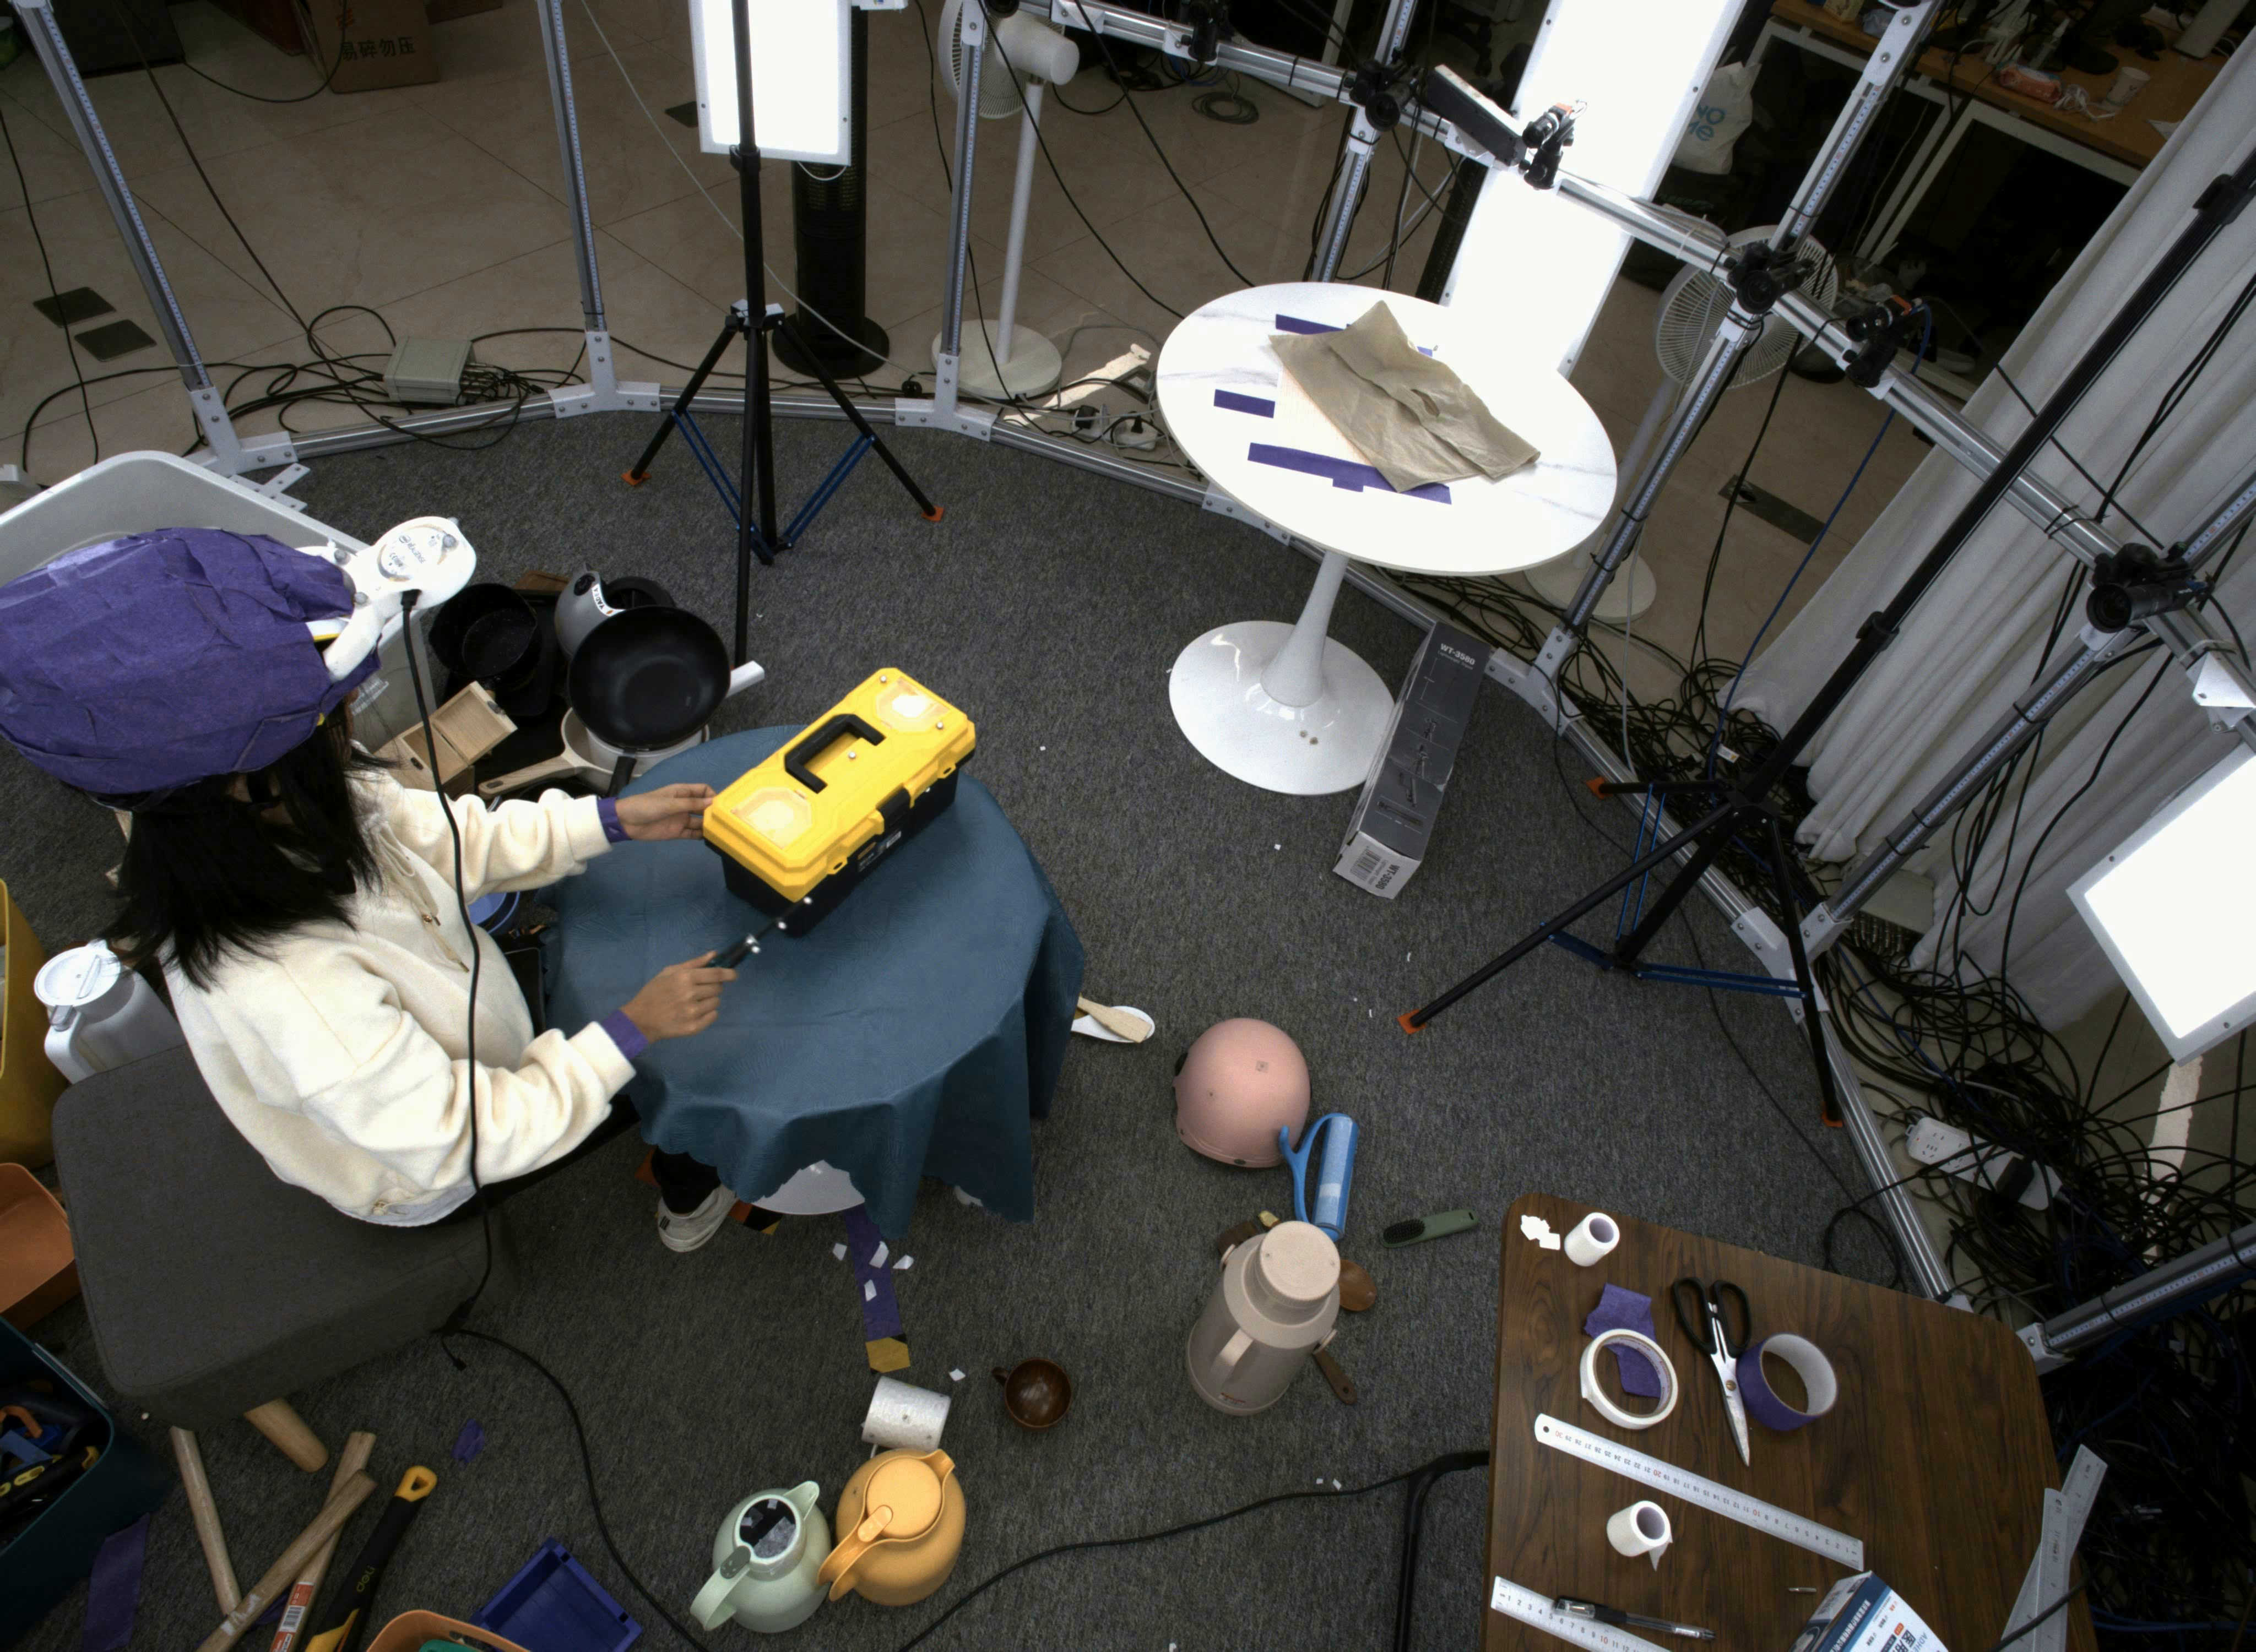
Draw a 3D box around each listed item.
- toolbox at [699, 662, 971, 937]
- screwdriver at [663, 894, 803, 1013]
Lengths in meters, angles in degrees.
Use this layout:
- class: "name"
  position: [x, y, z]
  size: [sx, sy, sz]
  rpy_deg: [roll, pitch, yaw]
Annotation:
- class: "toolbox"
  position: [-0.363, -0.035, 1.649]
  size: [0.178, 0.176, 0.351]
  rpy_deg: [33, 53, 14]
- class: "screwdriver"
  position: [-0.439, 0.137, 1.446]
  size: [0.190, 0.034, 0.033]
  rpy_deg: [-41, 69, -17]
